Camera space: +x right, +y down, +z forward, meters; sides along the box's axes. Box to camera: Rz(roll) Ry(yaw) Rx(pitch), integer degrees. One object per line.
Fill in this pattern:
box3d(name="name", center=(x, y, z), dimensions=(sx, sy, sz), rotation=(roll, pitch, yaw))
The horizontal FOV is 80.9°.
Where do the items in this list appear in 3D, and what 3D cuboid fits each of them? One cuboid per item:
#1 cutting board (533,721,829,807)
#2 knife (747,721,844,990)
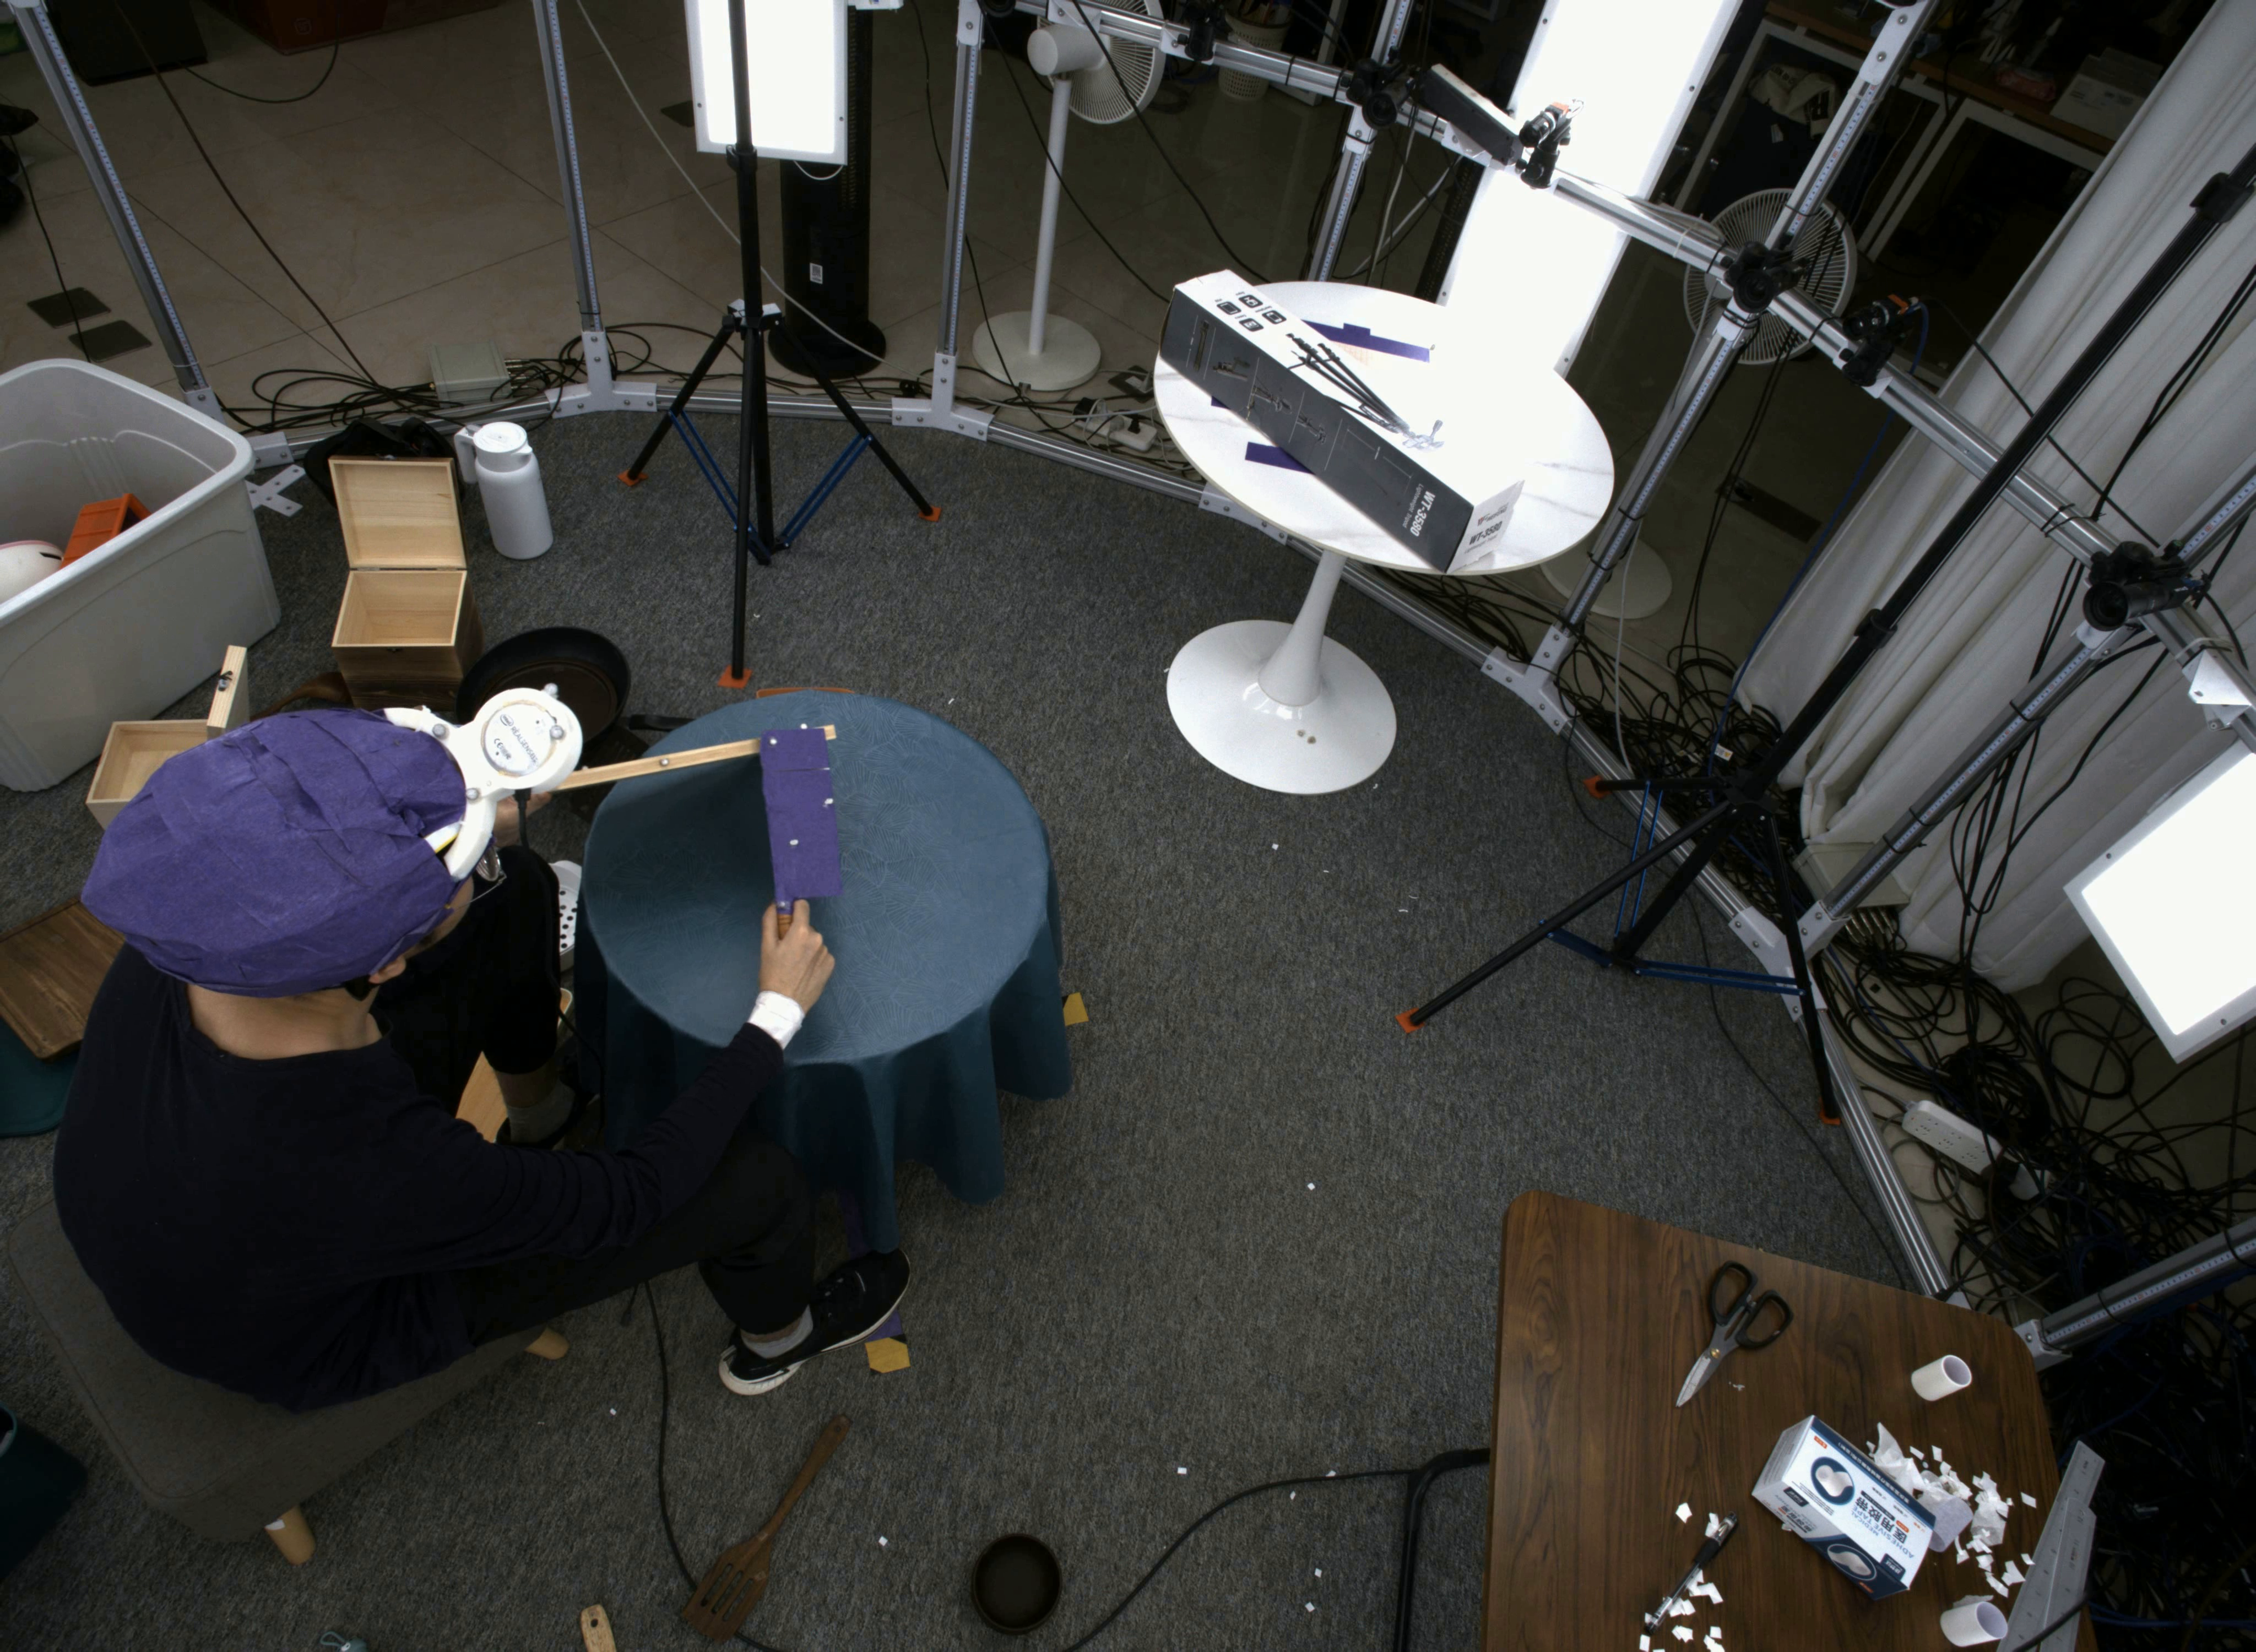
box3d(name="cutting board", center=(-0.569, -0.079, 1.595), dimensions=(0.352, 0.243, 0.024), rotation=(-15, 96, -36))
box3d(name="knife", center=(-0.387, 0.030, 1.551), dimensions=(0.105, 0.031, 0.318), rotation=(-7, 89, -41))
